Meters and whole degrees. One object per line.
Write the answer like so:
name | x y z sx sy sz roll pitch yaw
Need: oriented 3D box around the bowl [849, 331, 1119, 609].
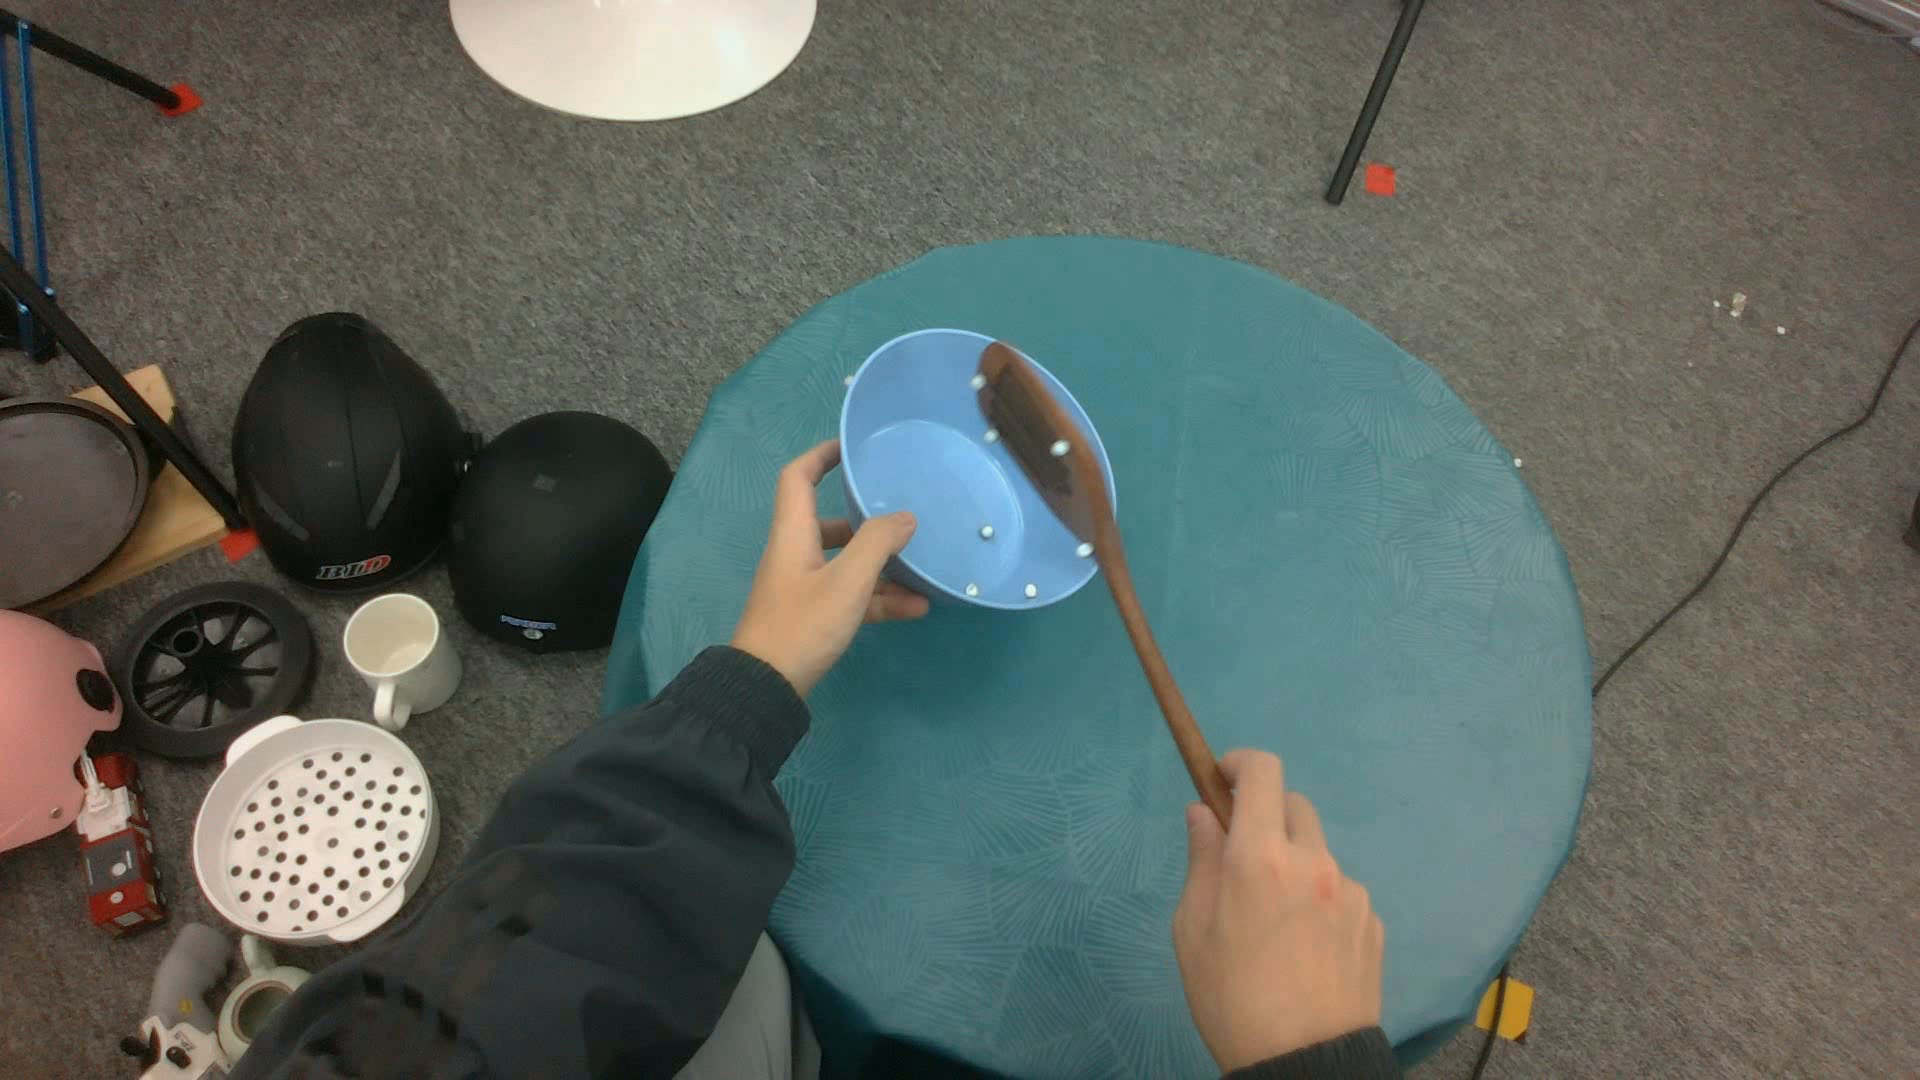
bowl | 0.003 -0.031 0.809 0.176 0.070 0.177 13 60 -24

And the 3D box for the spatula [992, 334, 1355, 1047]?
spatula | 0.104 0.065 0.693 0.024 0.085 0.387 -18 71 -16
